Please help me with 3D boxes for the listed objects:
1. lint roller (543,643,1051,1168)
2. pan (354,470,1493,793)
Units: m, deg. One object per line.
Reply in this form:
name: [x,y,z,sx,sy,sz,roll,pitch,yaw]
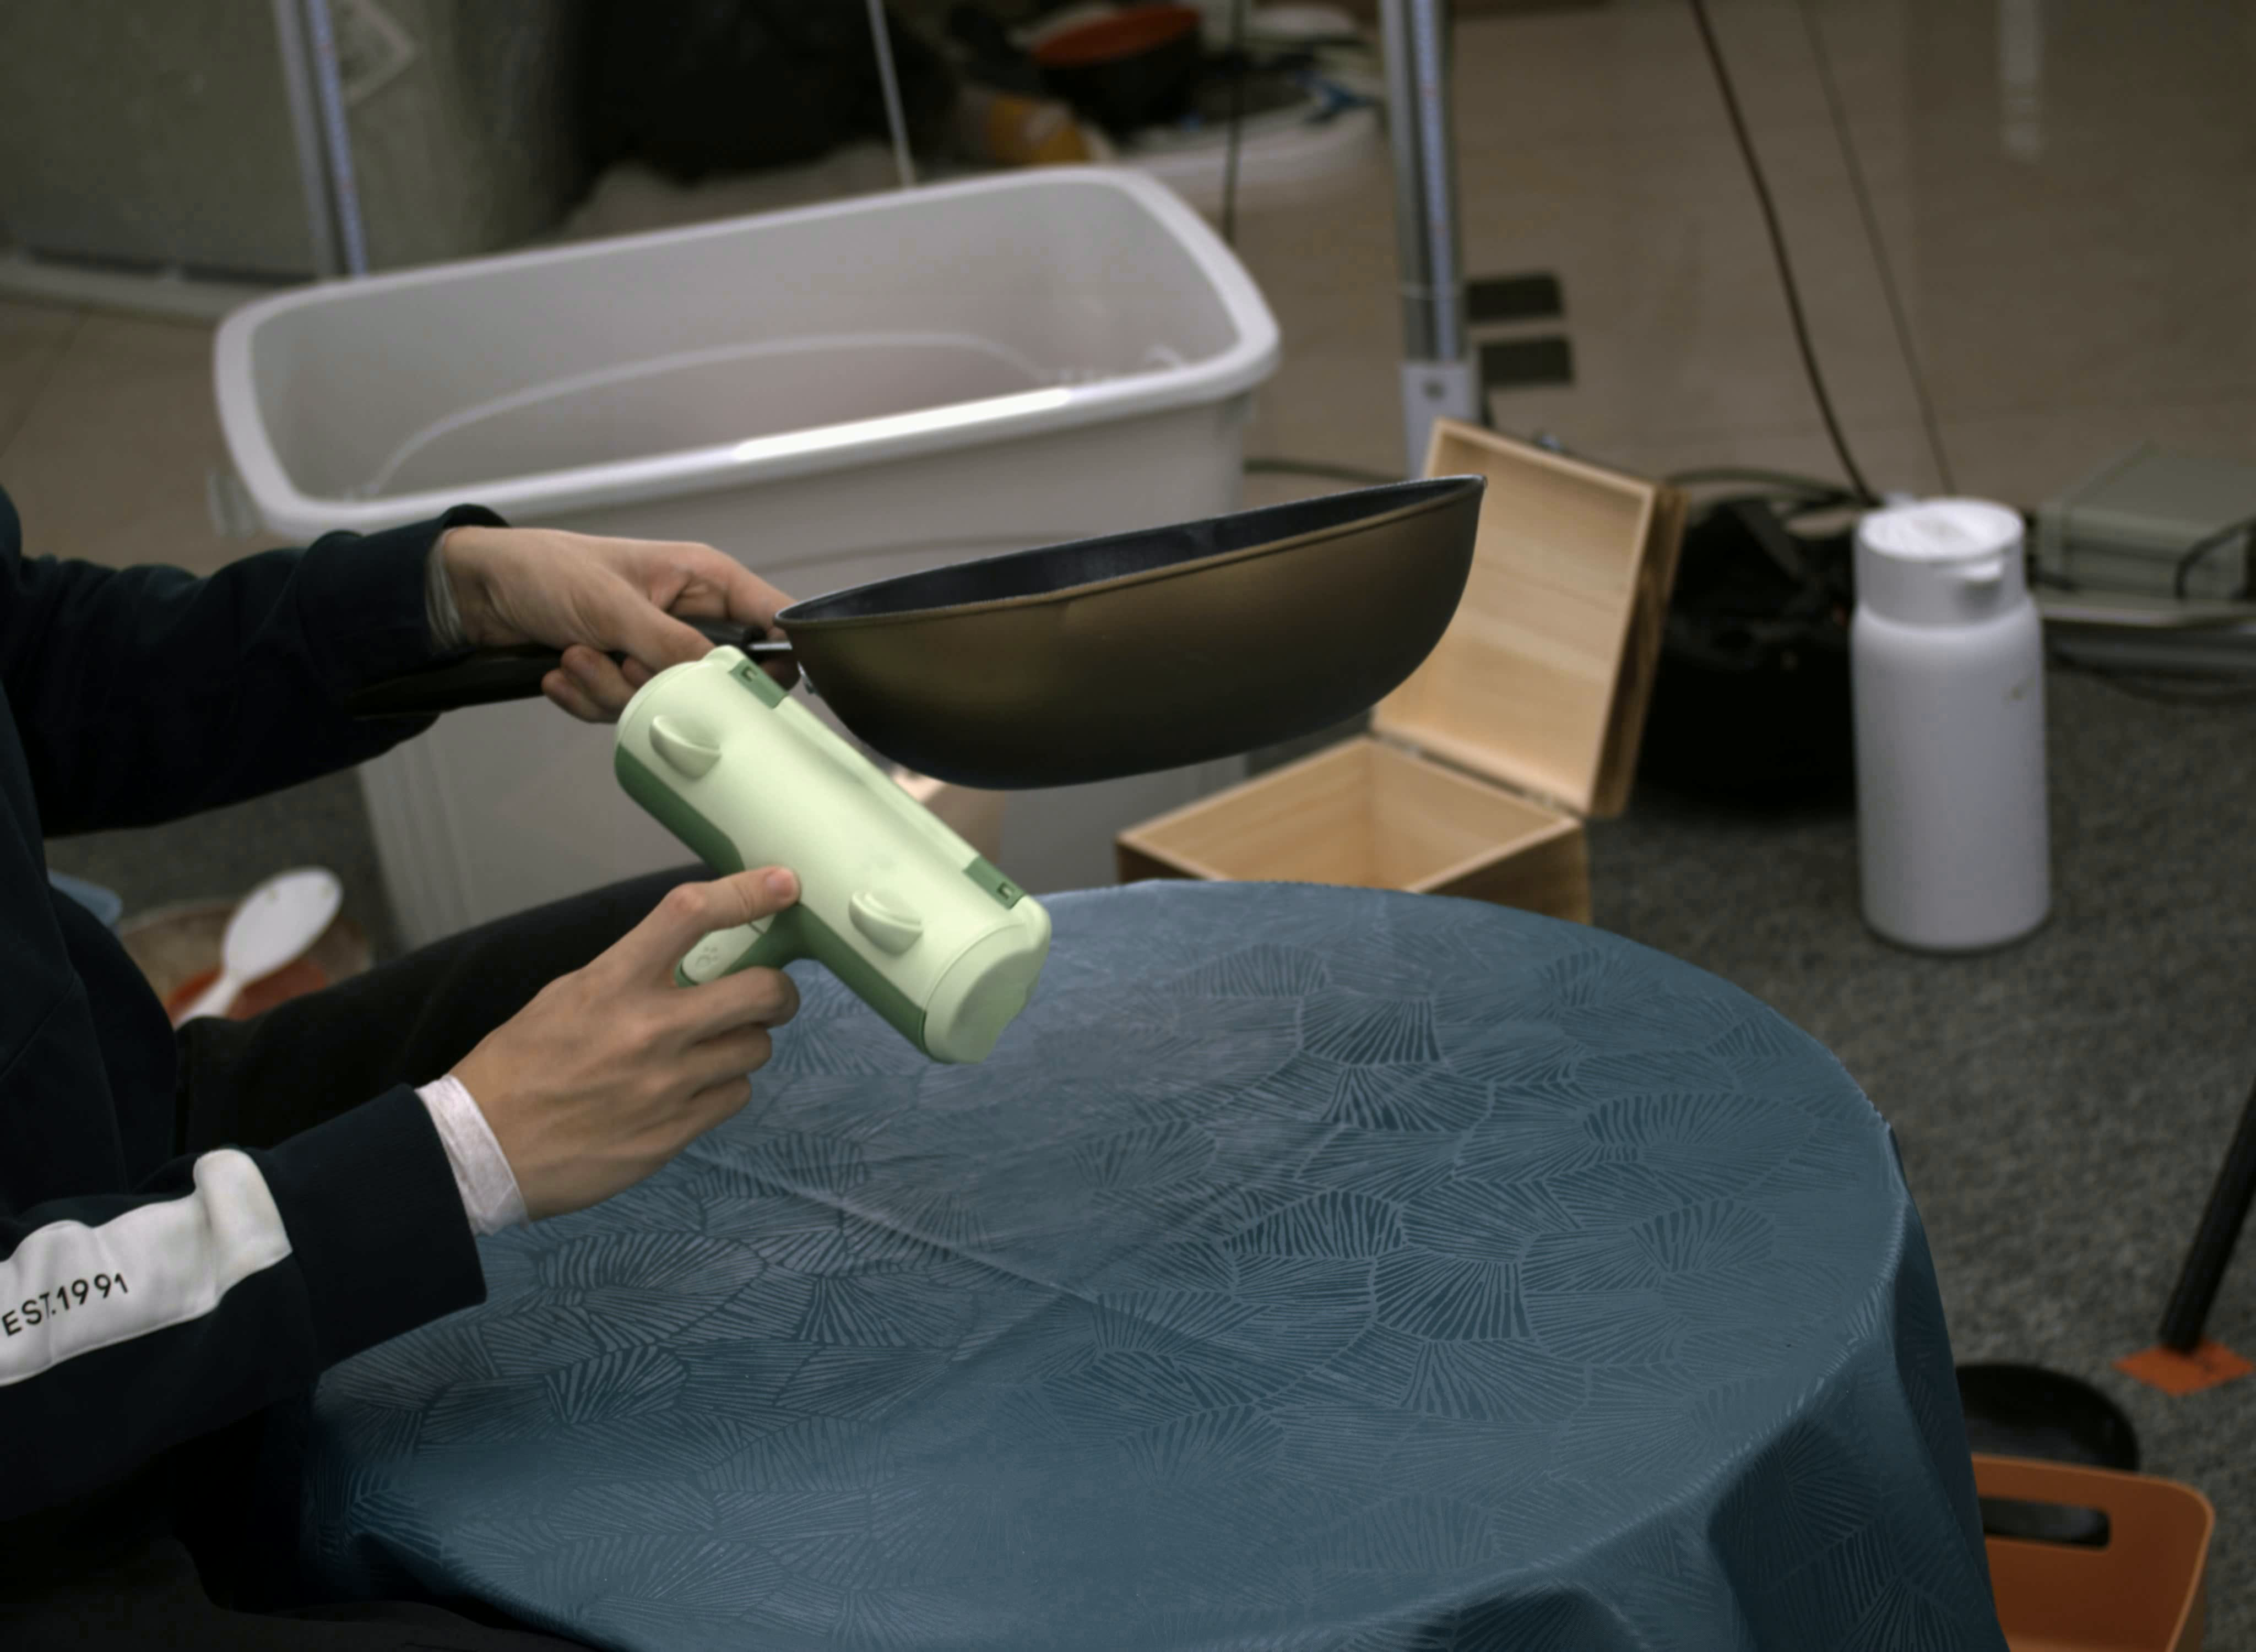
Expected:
lint roller: [-0.152,0.044,2.047,0.182,0.083,0.196,-44,59,-10]
pan: [-0.078,-0.053,2.174,0.463,0.087,0.286,-10,6,15]
